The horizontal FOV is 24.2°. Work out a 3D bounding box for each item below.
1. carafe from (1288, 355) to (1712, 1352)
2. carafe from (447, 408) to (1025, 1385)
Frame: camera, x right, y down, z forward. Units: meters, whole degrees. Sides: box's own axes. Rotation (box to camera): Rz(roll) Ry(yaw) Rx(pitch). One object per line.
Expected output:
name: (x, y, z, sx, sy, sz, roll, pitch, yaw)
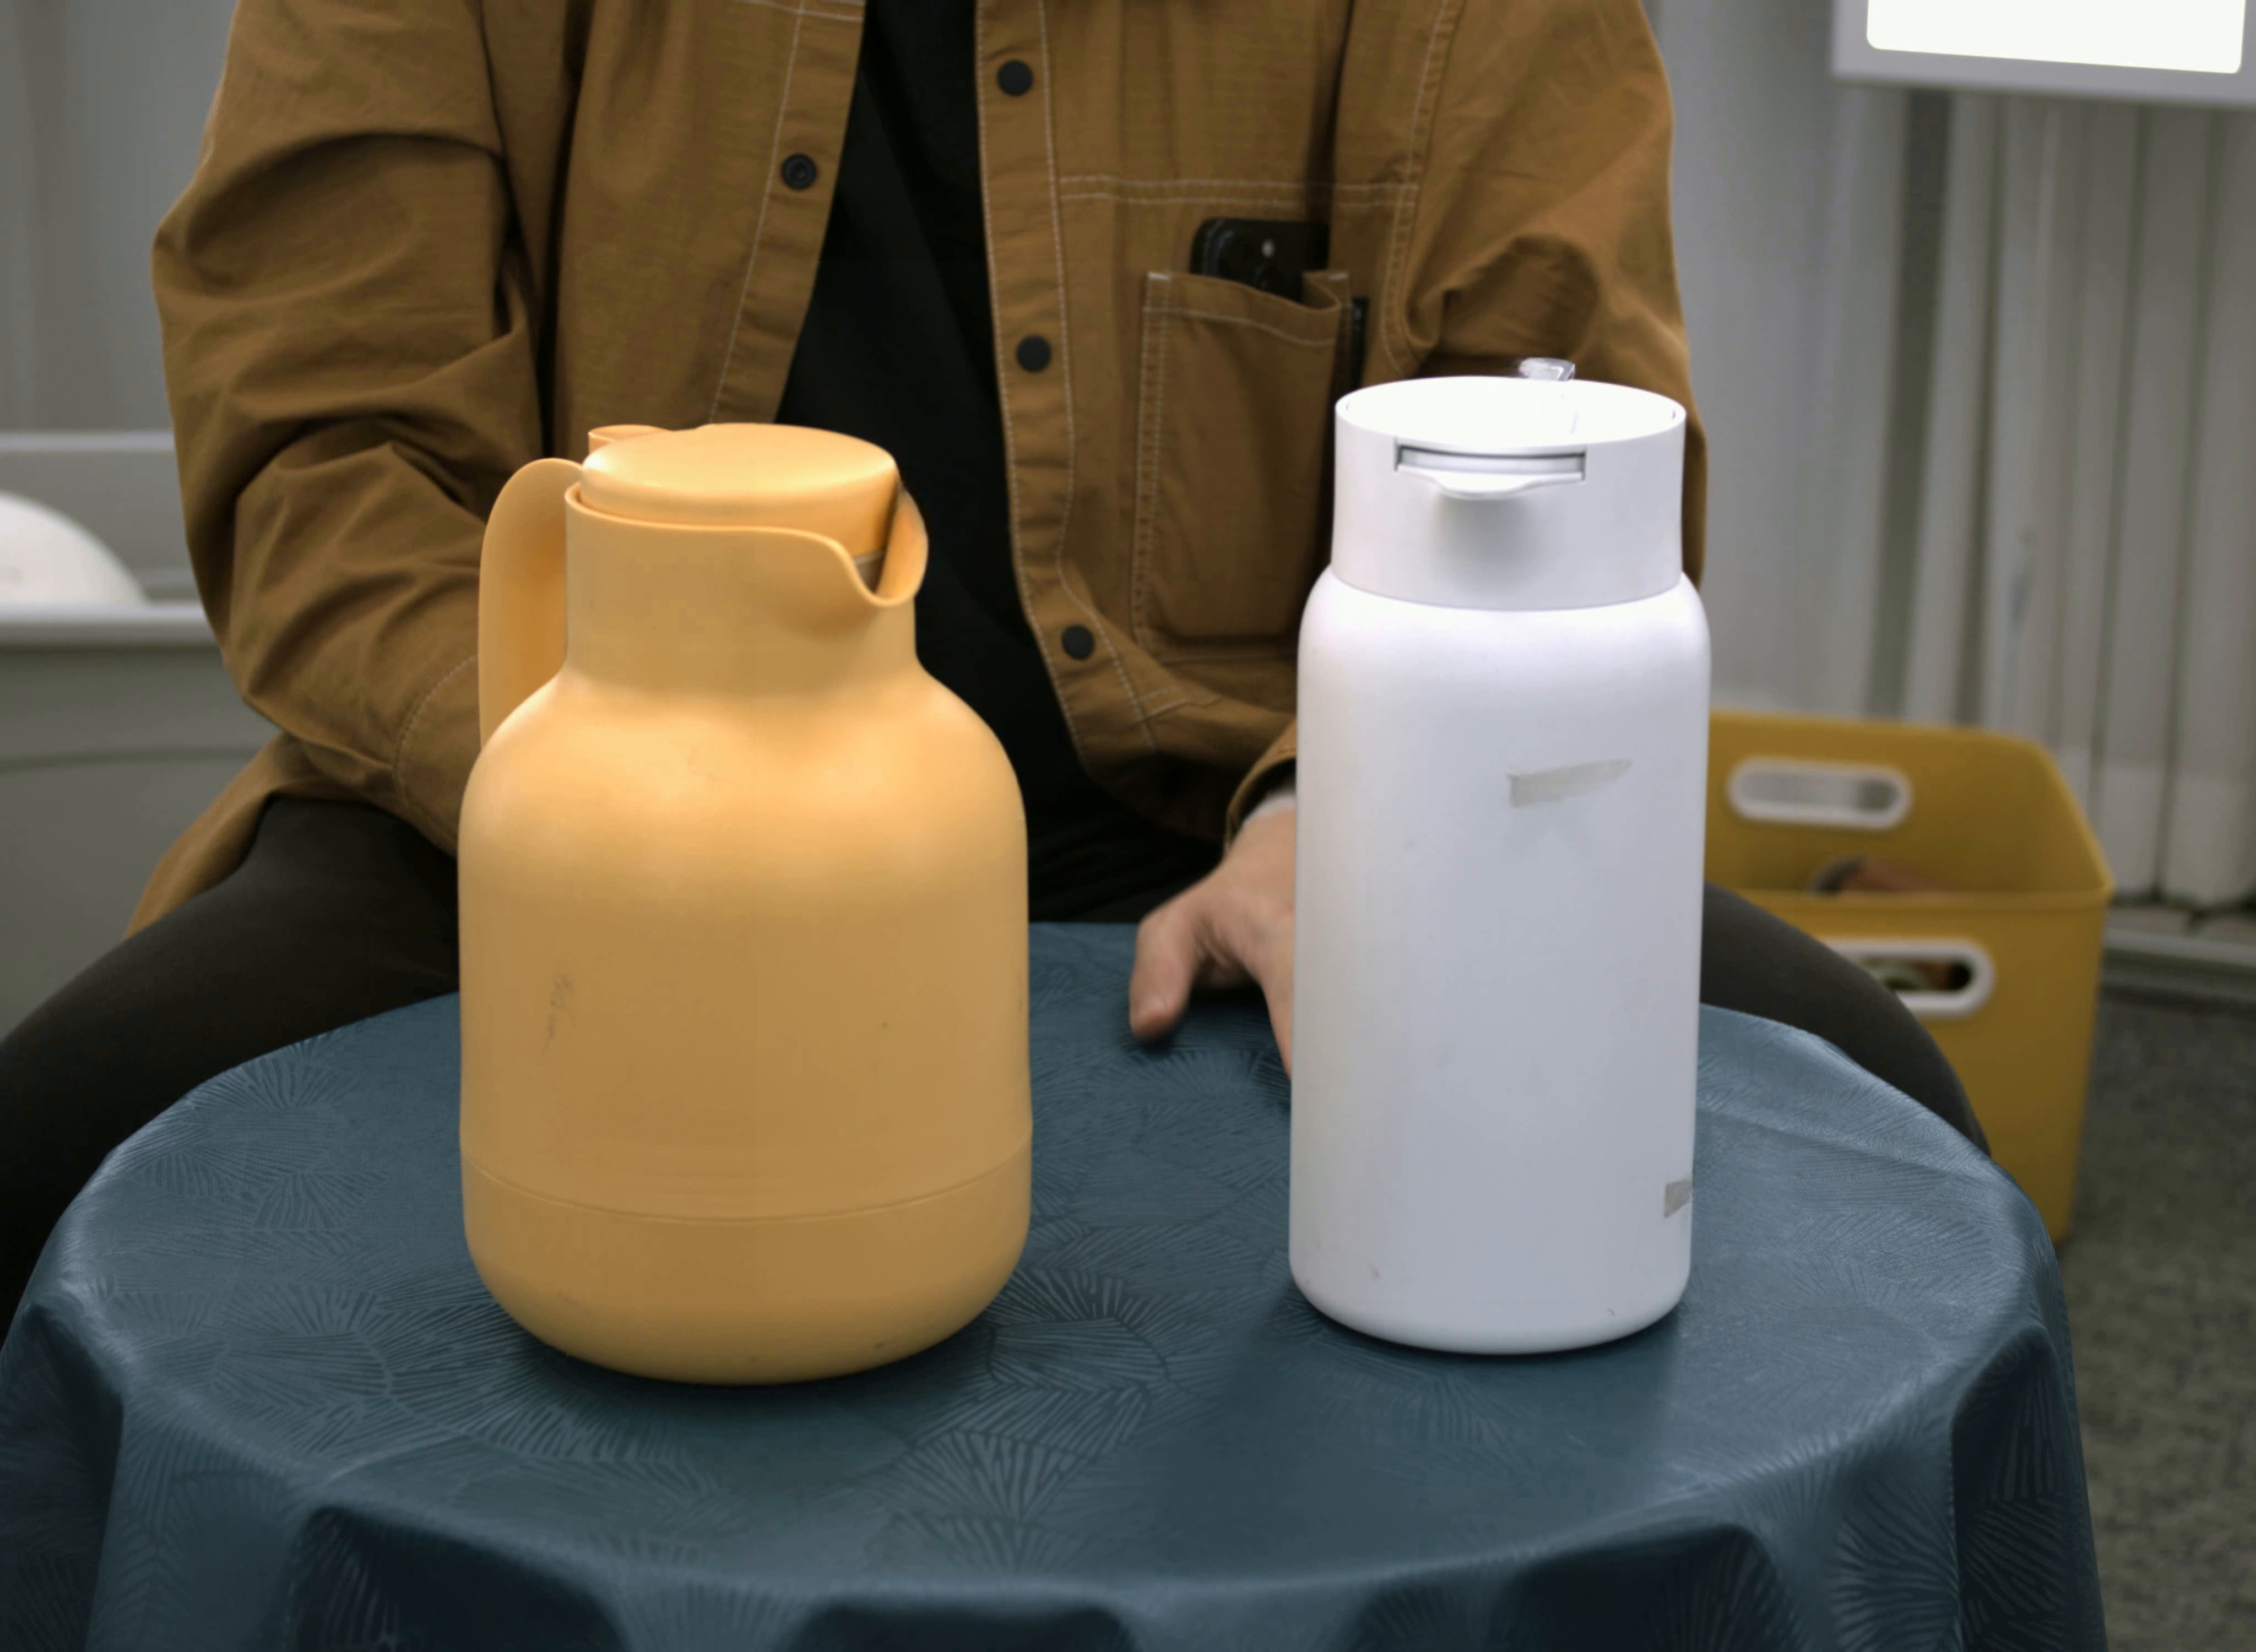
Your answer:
carafe: (0.108, 0.003, 1.517, 0.123, 0.271, 0.172, 1, 16, 11)
carafe: (-0.119, 0.011, 1.492, 0.164, 0.262, 0.199, -8, 19, -35)
